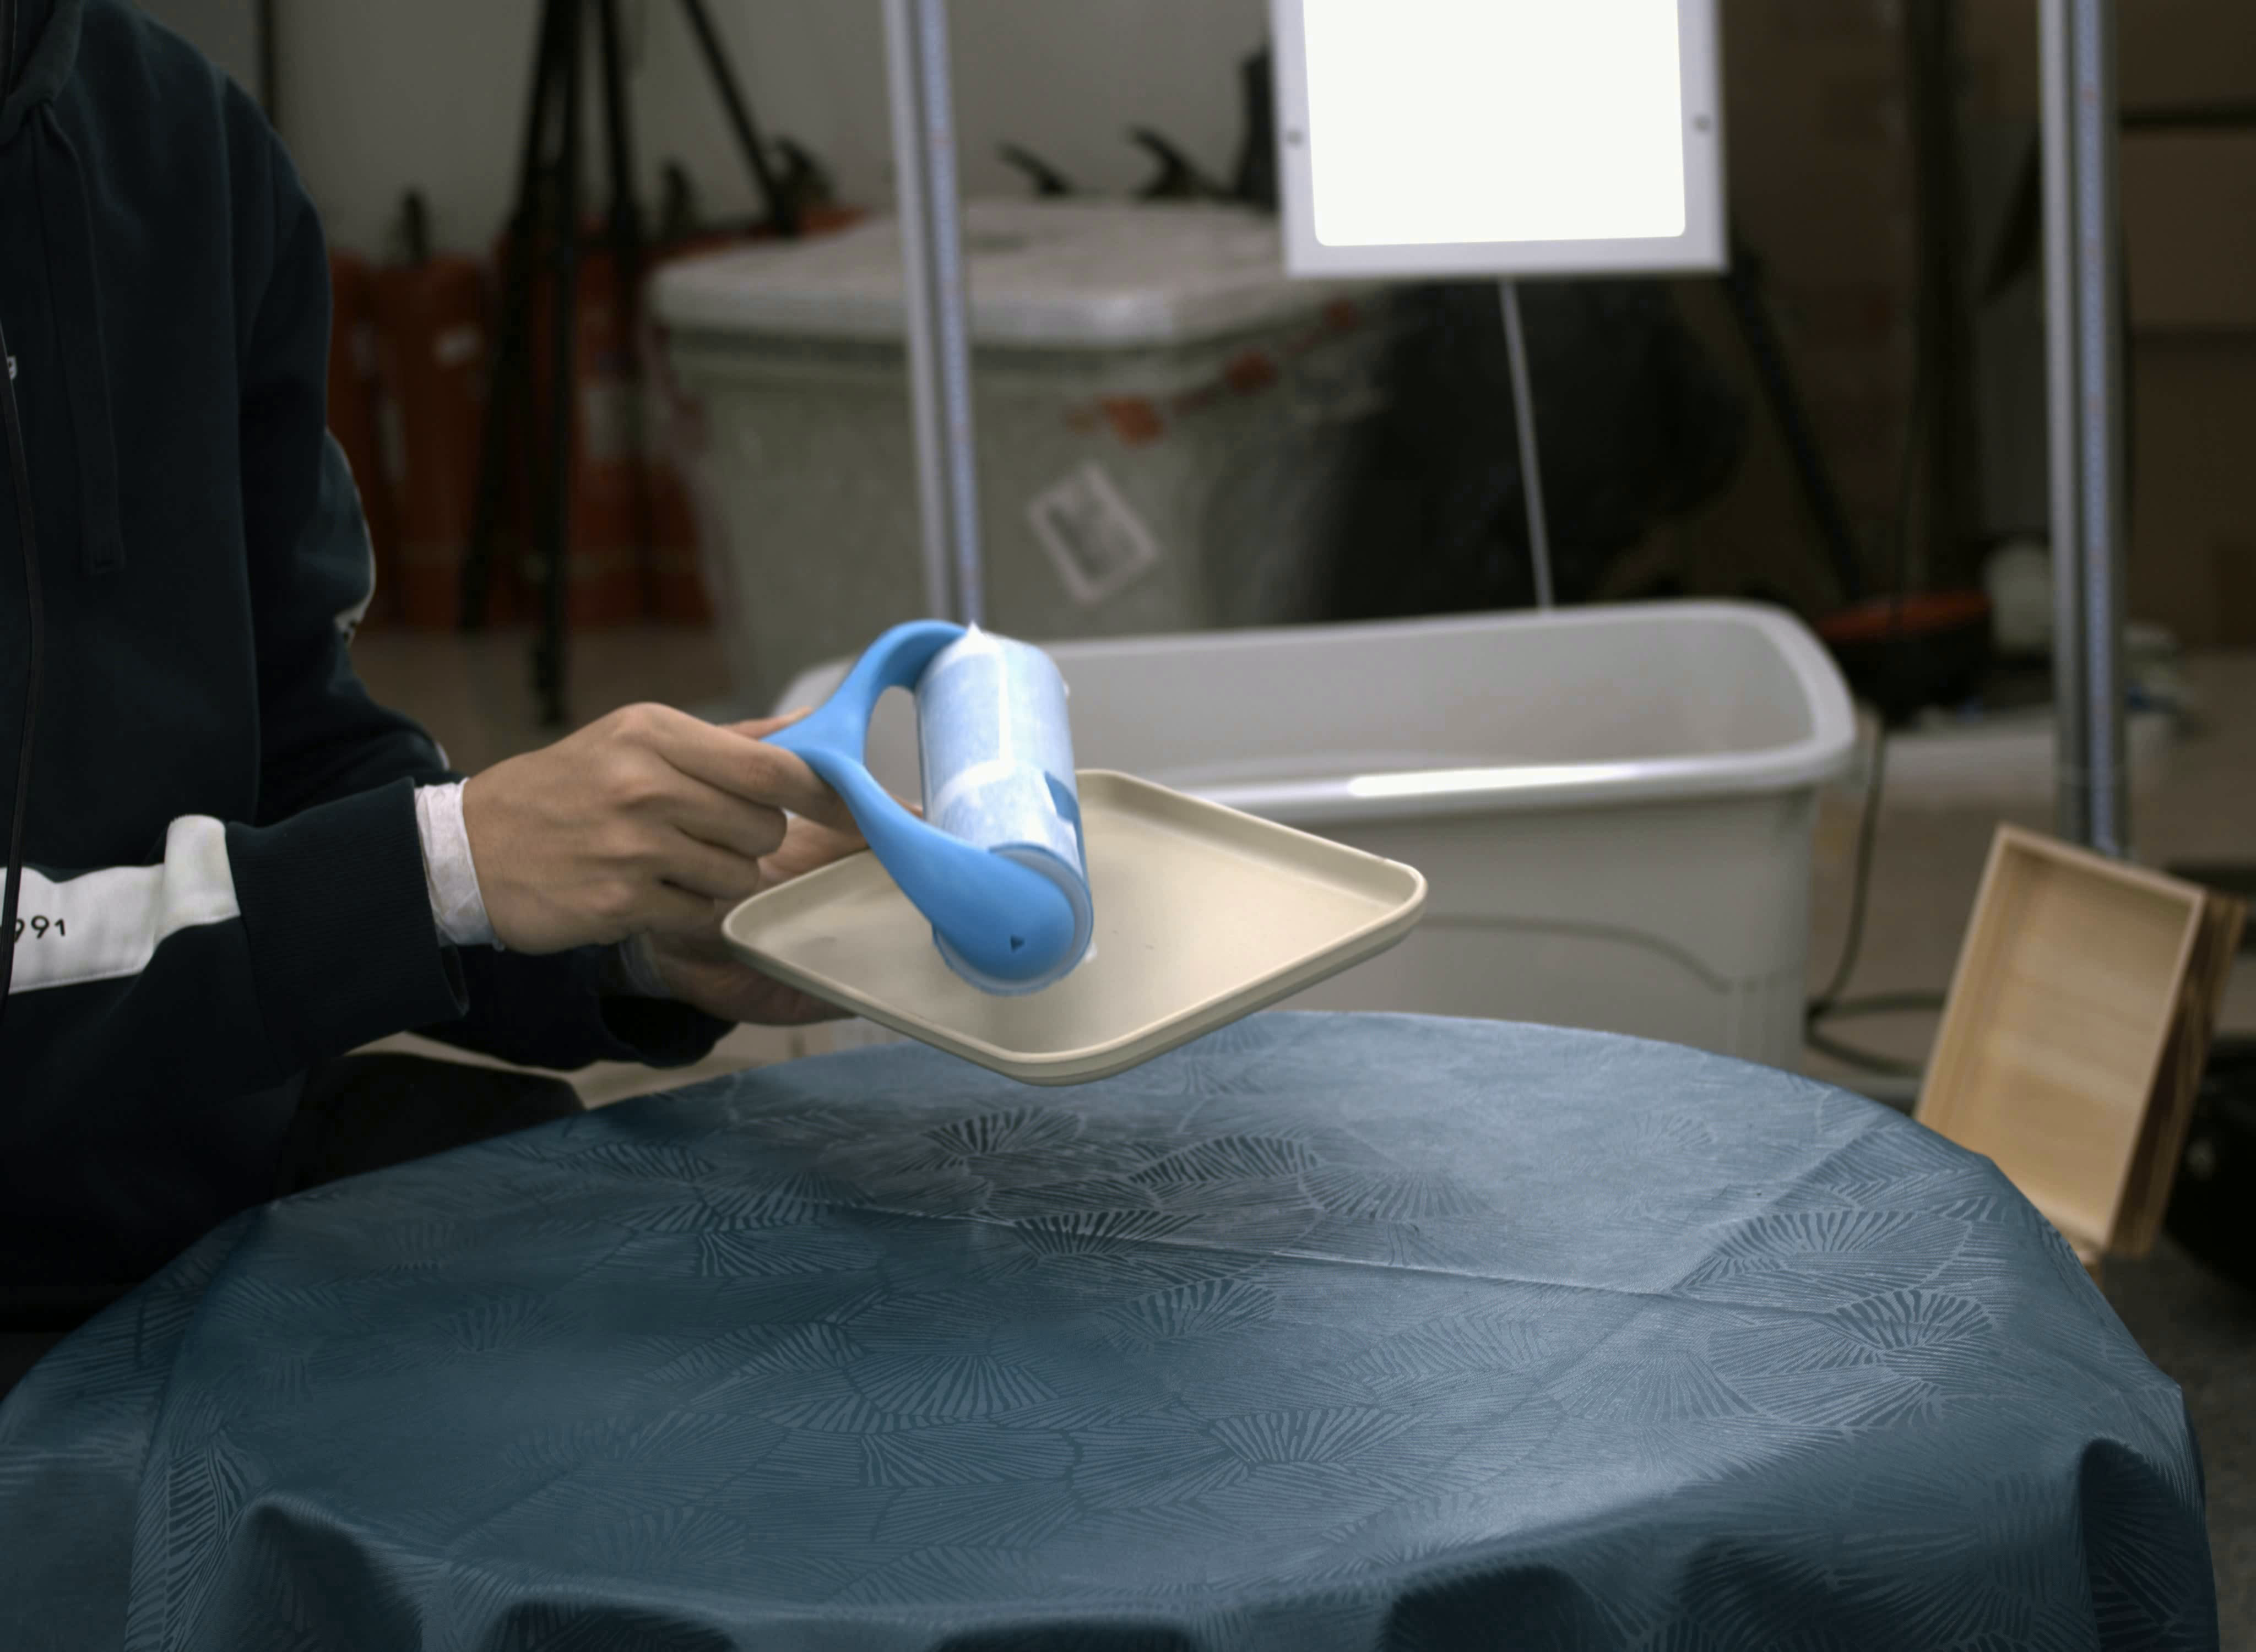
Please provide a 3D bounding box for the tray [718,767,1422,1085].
[{"bbox_3d":[-0.021,0.033,1.887,0.168,0.017,0.244,-25,23,-26],"label":"tray"}]

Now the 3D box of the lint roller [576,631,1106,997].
[{"bbox_3d":[-0.100,0.000,1.865,0.179,0.068,0.229,-6,24,-3],"label":"lint roller"}]
